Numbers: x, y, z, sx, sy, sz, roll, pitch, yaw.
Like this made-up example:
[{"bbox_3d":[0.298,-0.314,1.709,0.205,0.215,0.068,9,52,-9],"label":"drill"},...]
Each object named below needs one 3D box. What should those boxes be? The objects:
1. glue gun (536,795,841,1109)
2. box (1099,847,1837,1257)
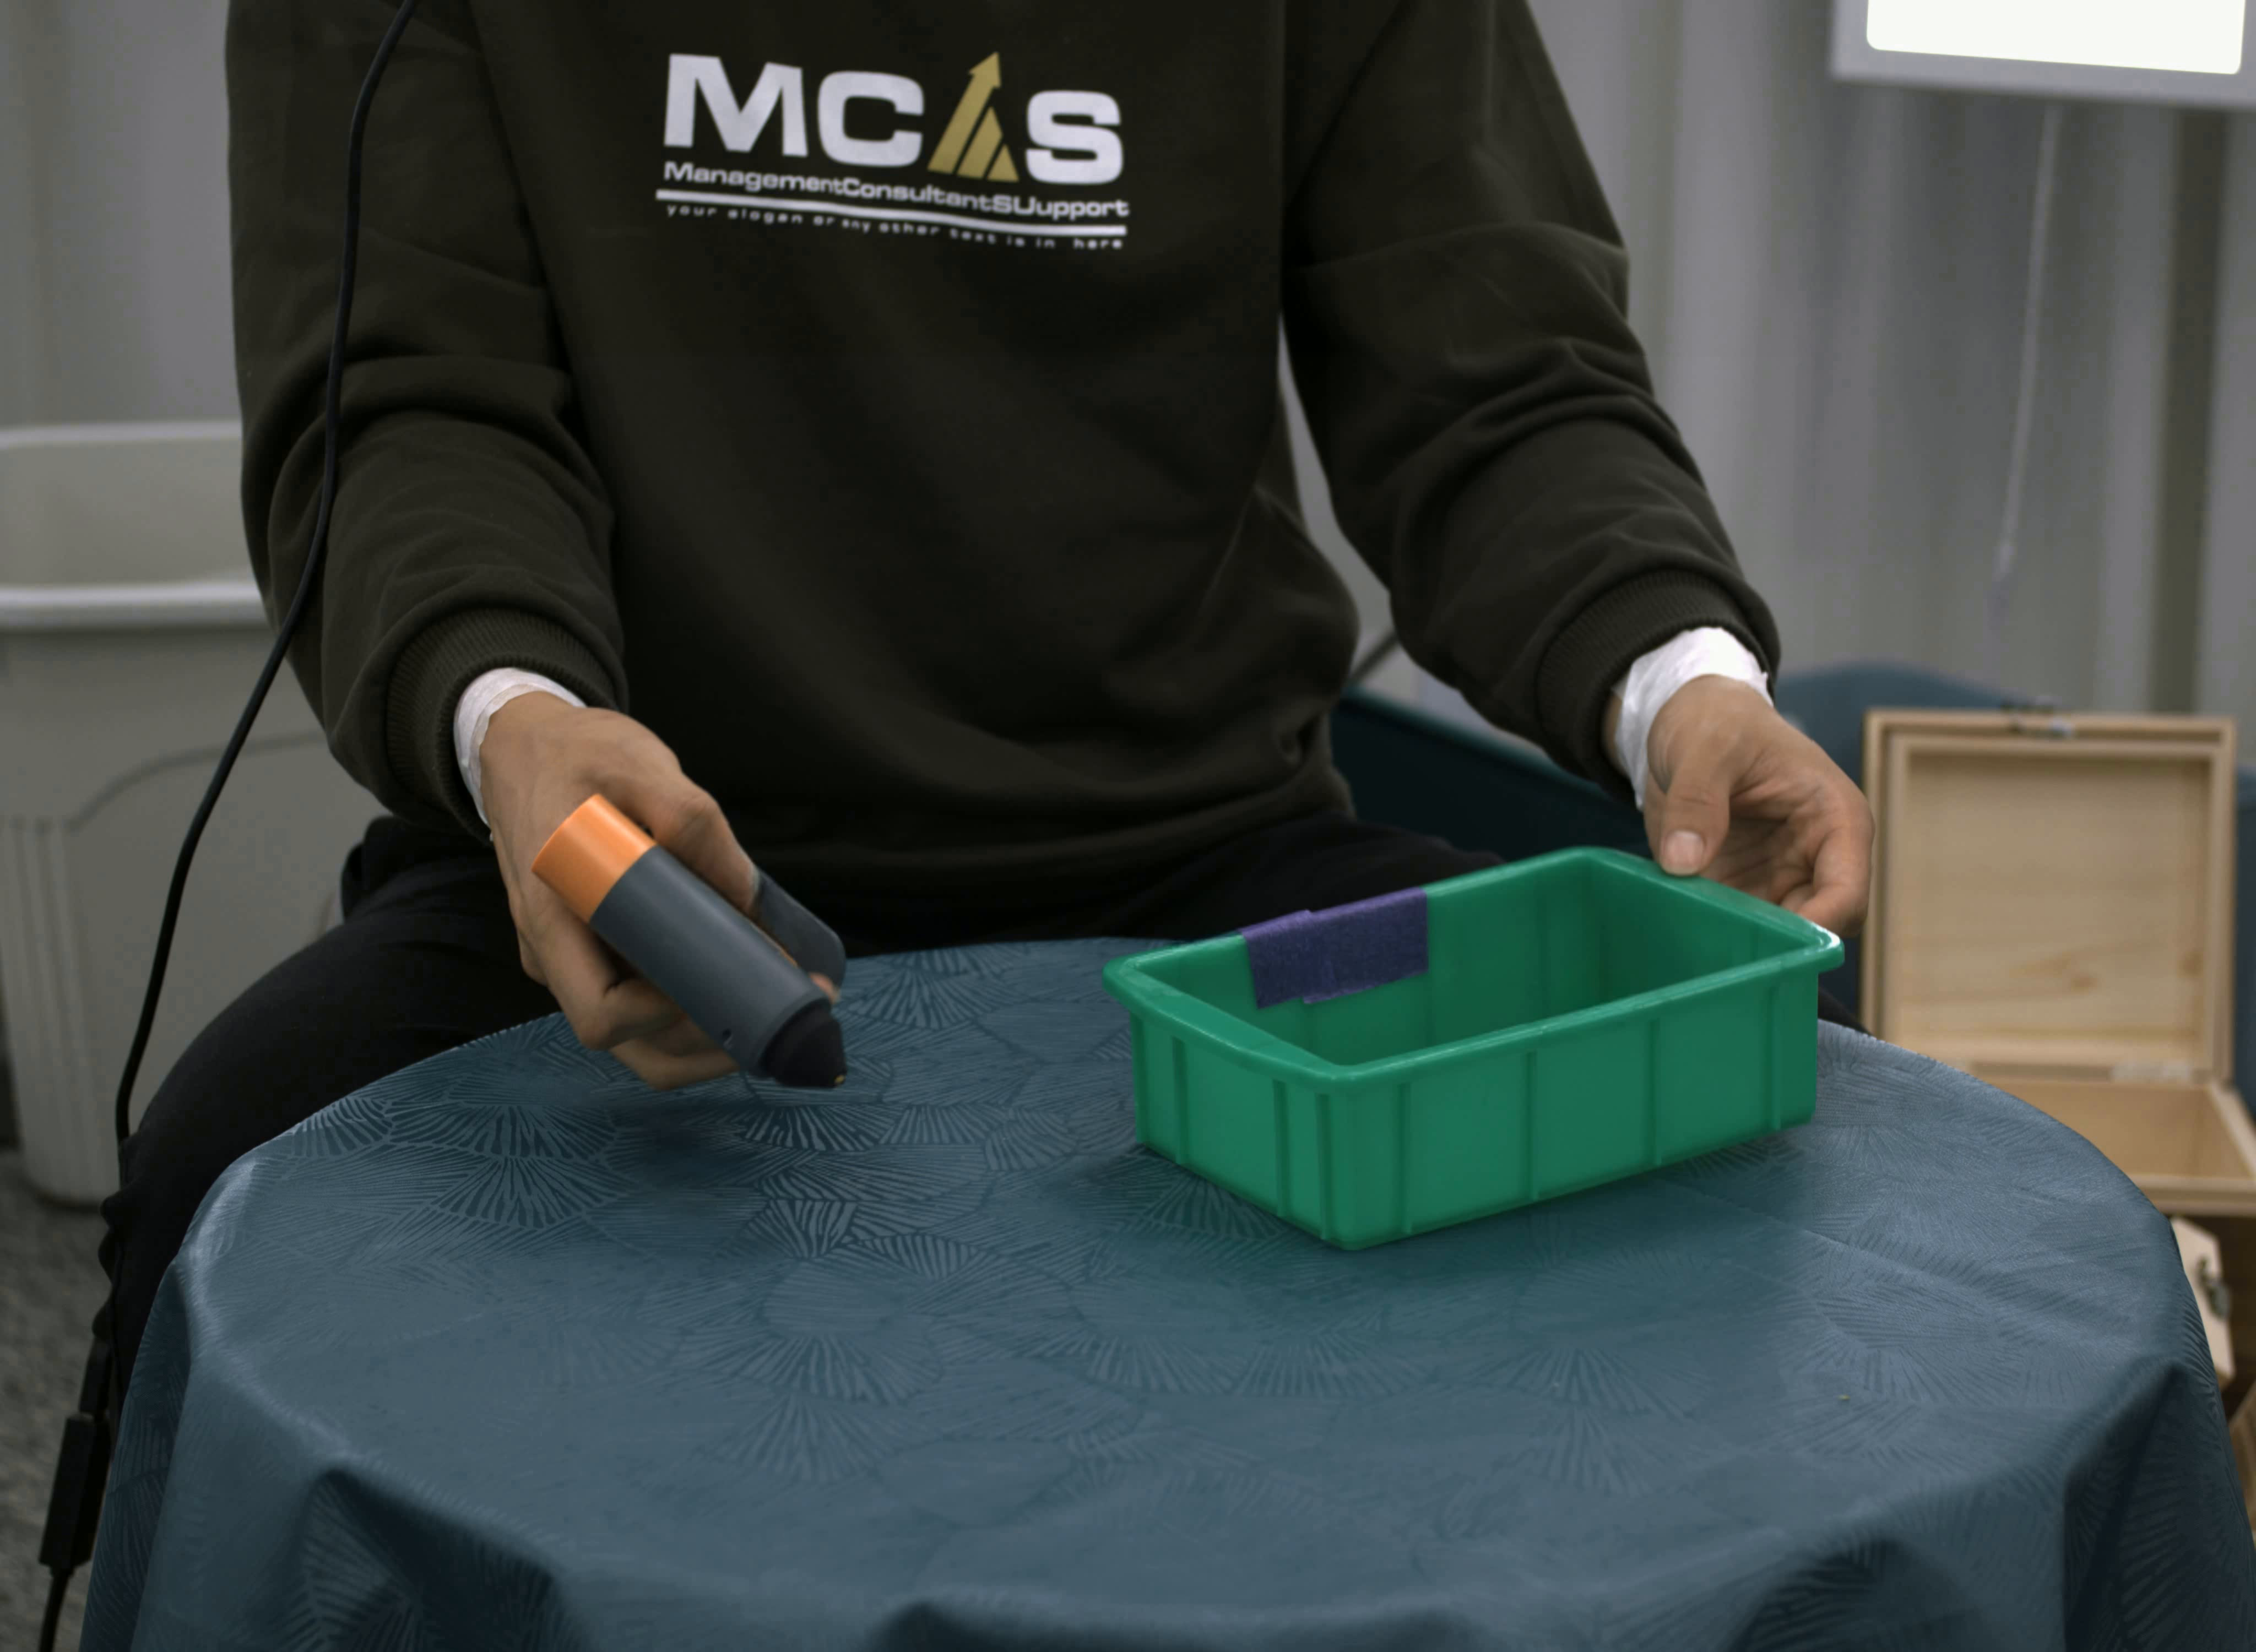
[{"bbox_3d":[-0.127,0.041,1.649,0.118,0.041,0.140,44,4,1],"label":"glue gun"},{"bbox_3d":[0.108,0.070,1.659,0.211,0.066,0.137,-14,21,-32],"label":"box"}]
